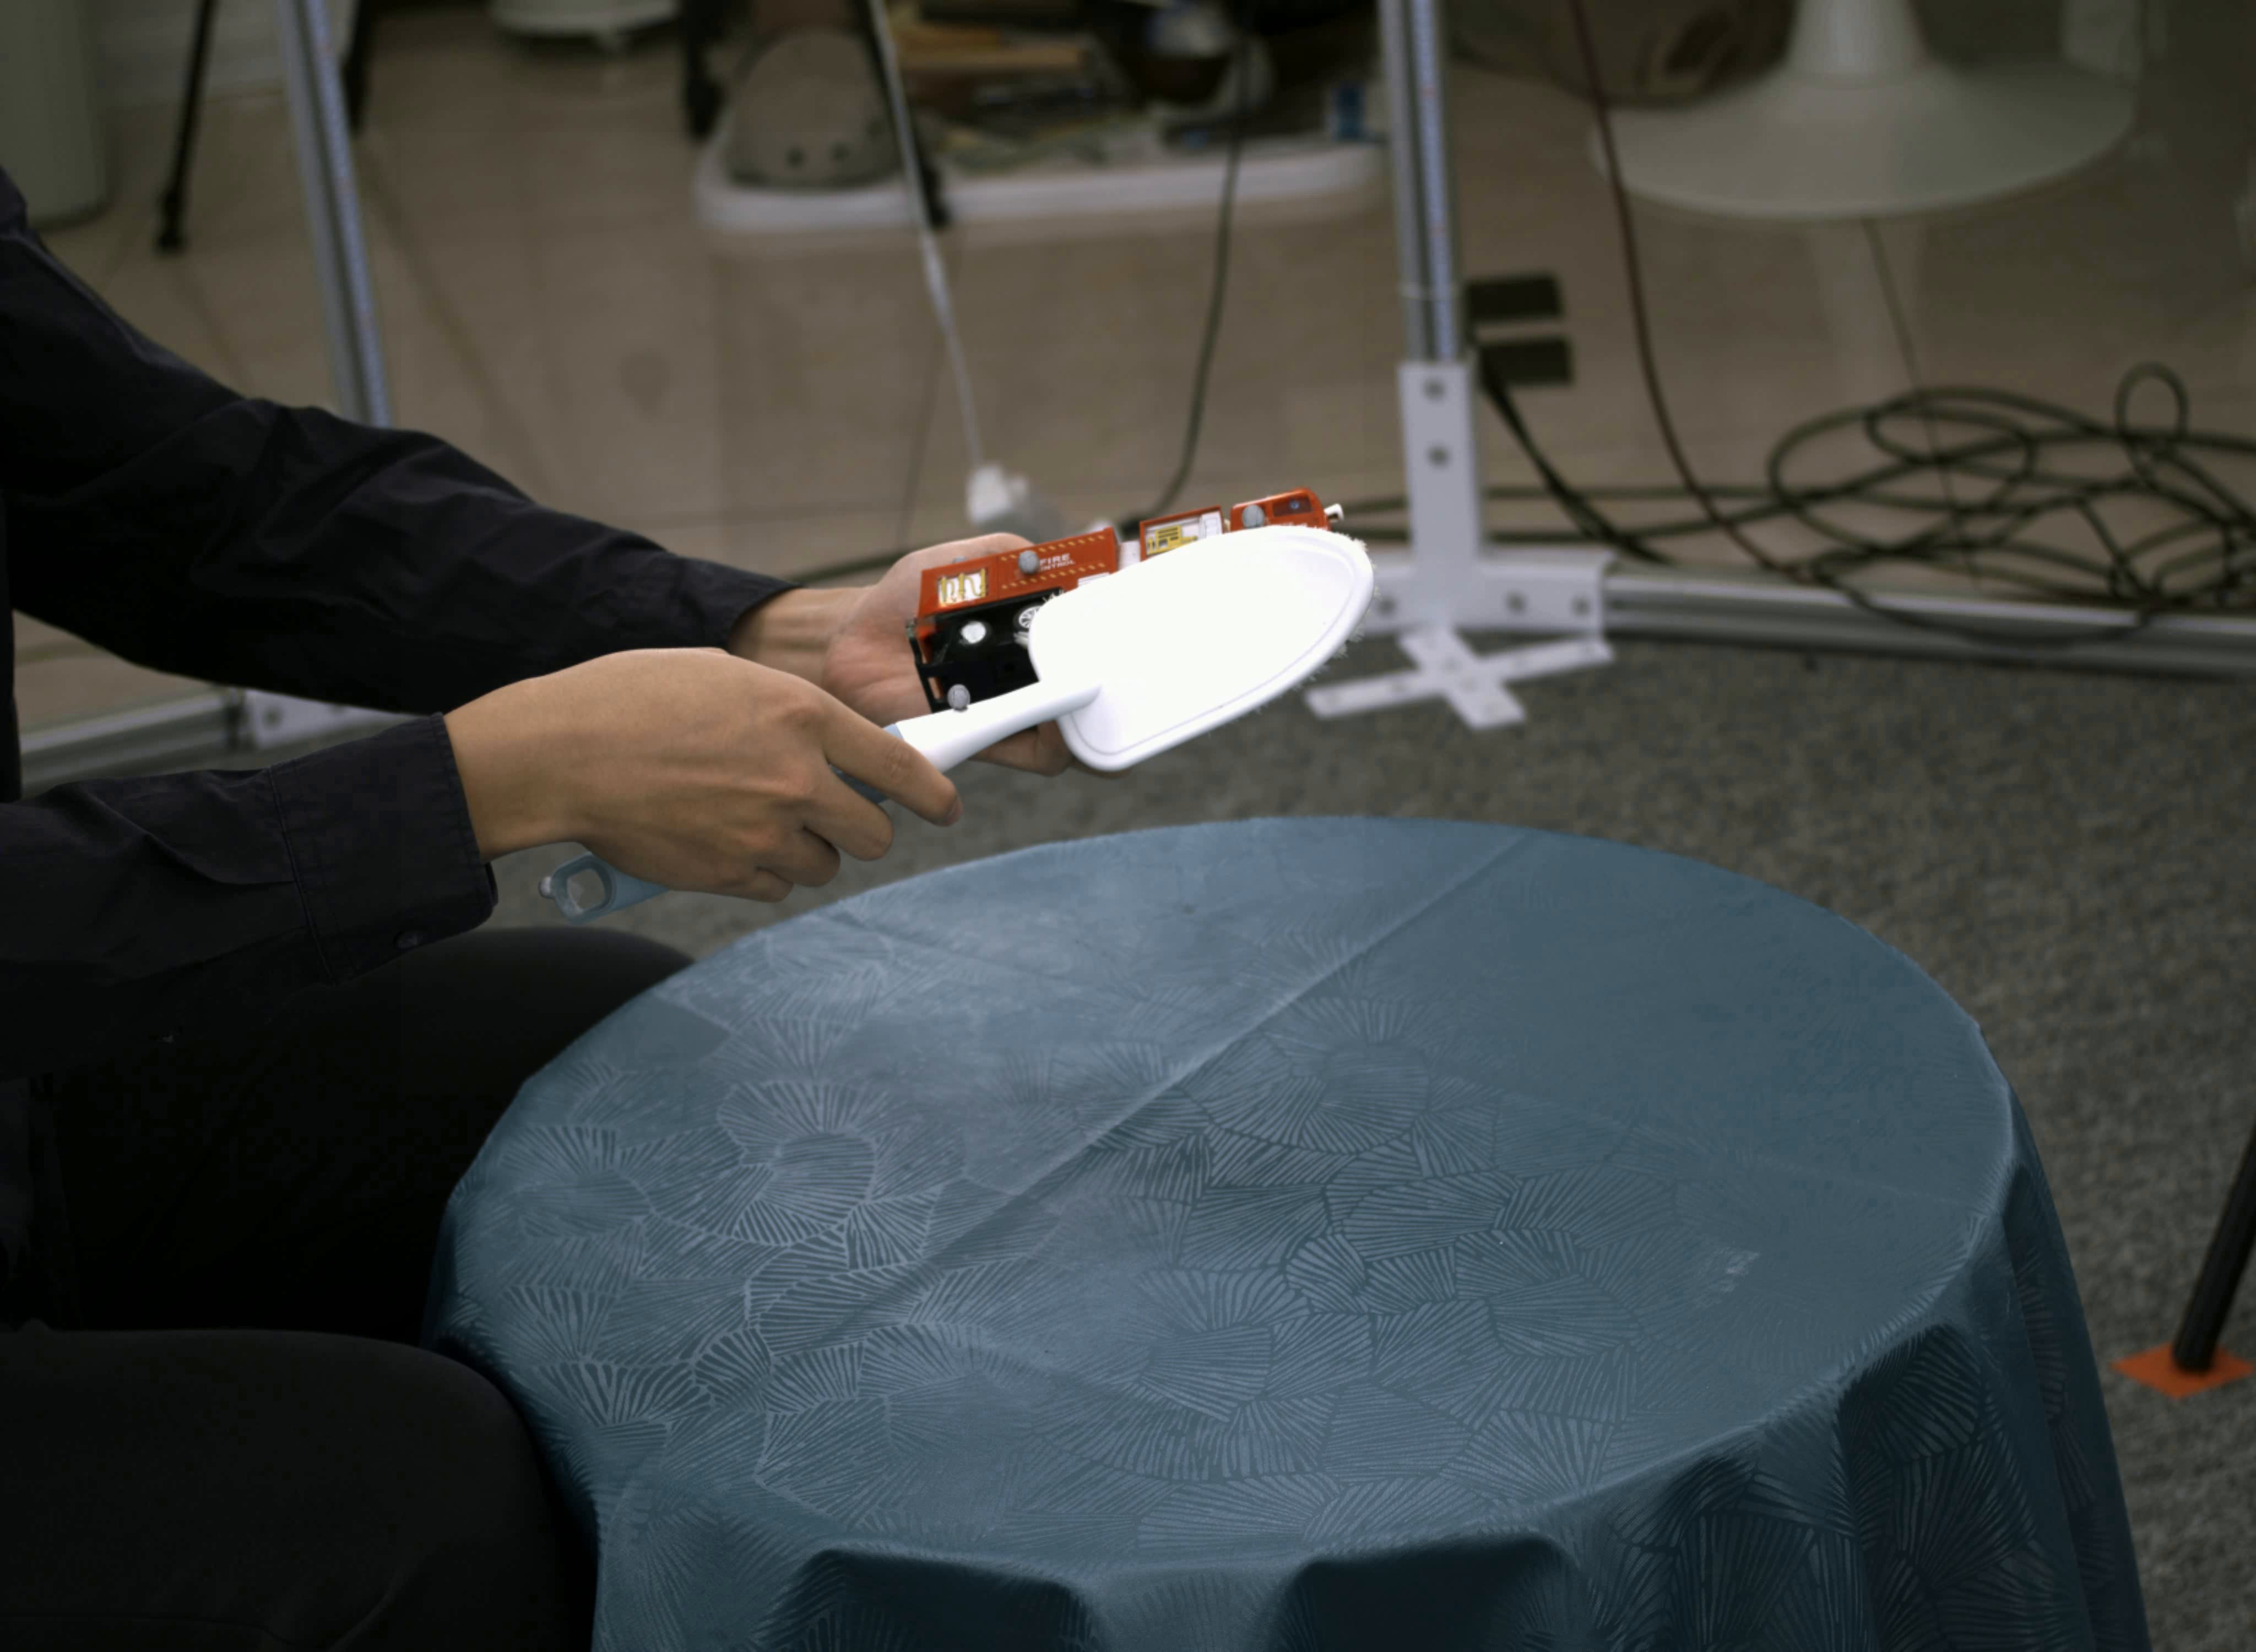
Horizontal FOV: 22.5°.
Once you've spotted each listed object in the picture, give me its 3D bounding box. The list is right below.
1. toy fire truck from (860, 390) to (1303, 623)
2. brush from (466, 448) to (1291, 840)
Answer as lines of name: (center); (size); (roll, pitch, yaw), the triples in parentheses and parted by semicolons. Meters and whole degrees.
toy fire truck: (-0.016, -0.121, 2.135); (0.168, 0.055, 0.069); (-12, 42, 6)
brush: (-0.093, -0.068, 2.080); (0.324, 0.086, 0.082); (-22, 55, -6)
